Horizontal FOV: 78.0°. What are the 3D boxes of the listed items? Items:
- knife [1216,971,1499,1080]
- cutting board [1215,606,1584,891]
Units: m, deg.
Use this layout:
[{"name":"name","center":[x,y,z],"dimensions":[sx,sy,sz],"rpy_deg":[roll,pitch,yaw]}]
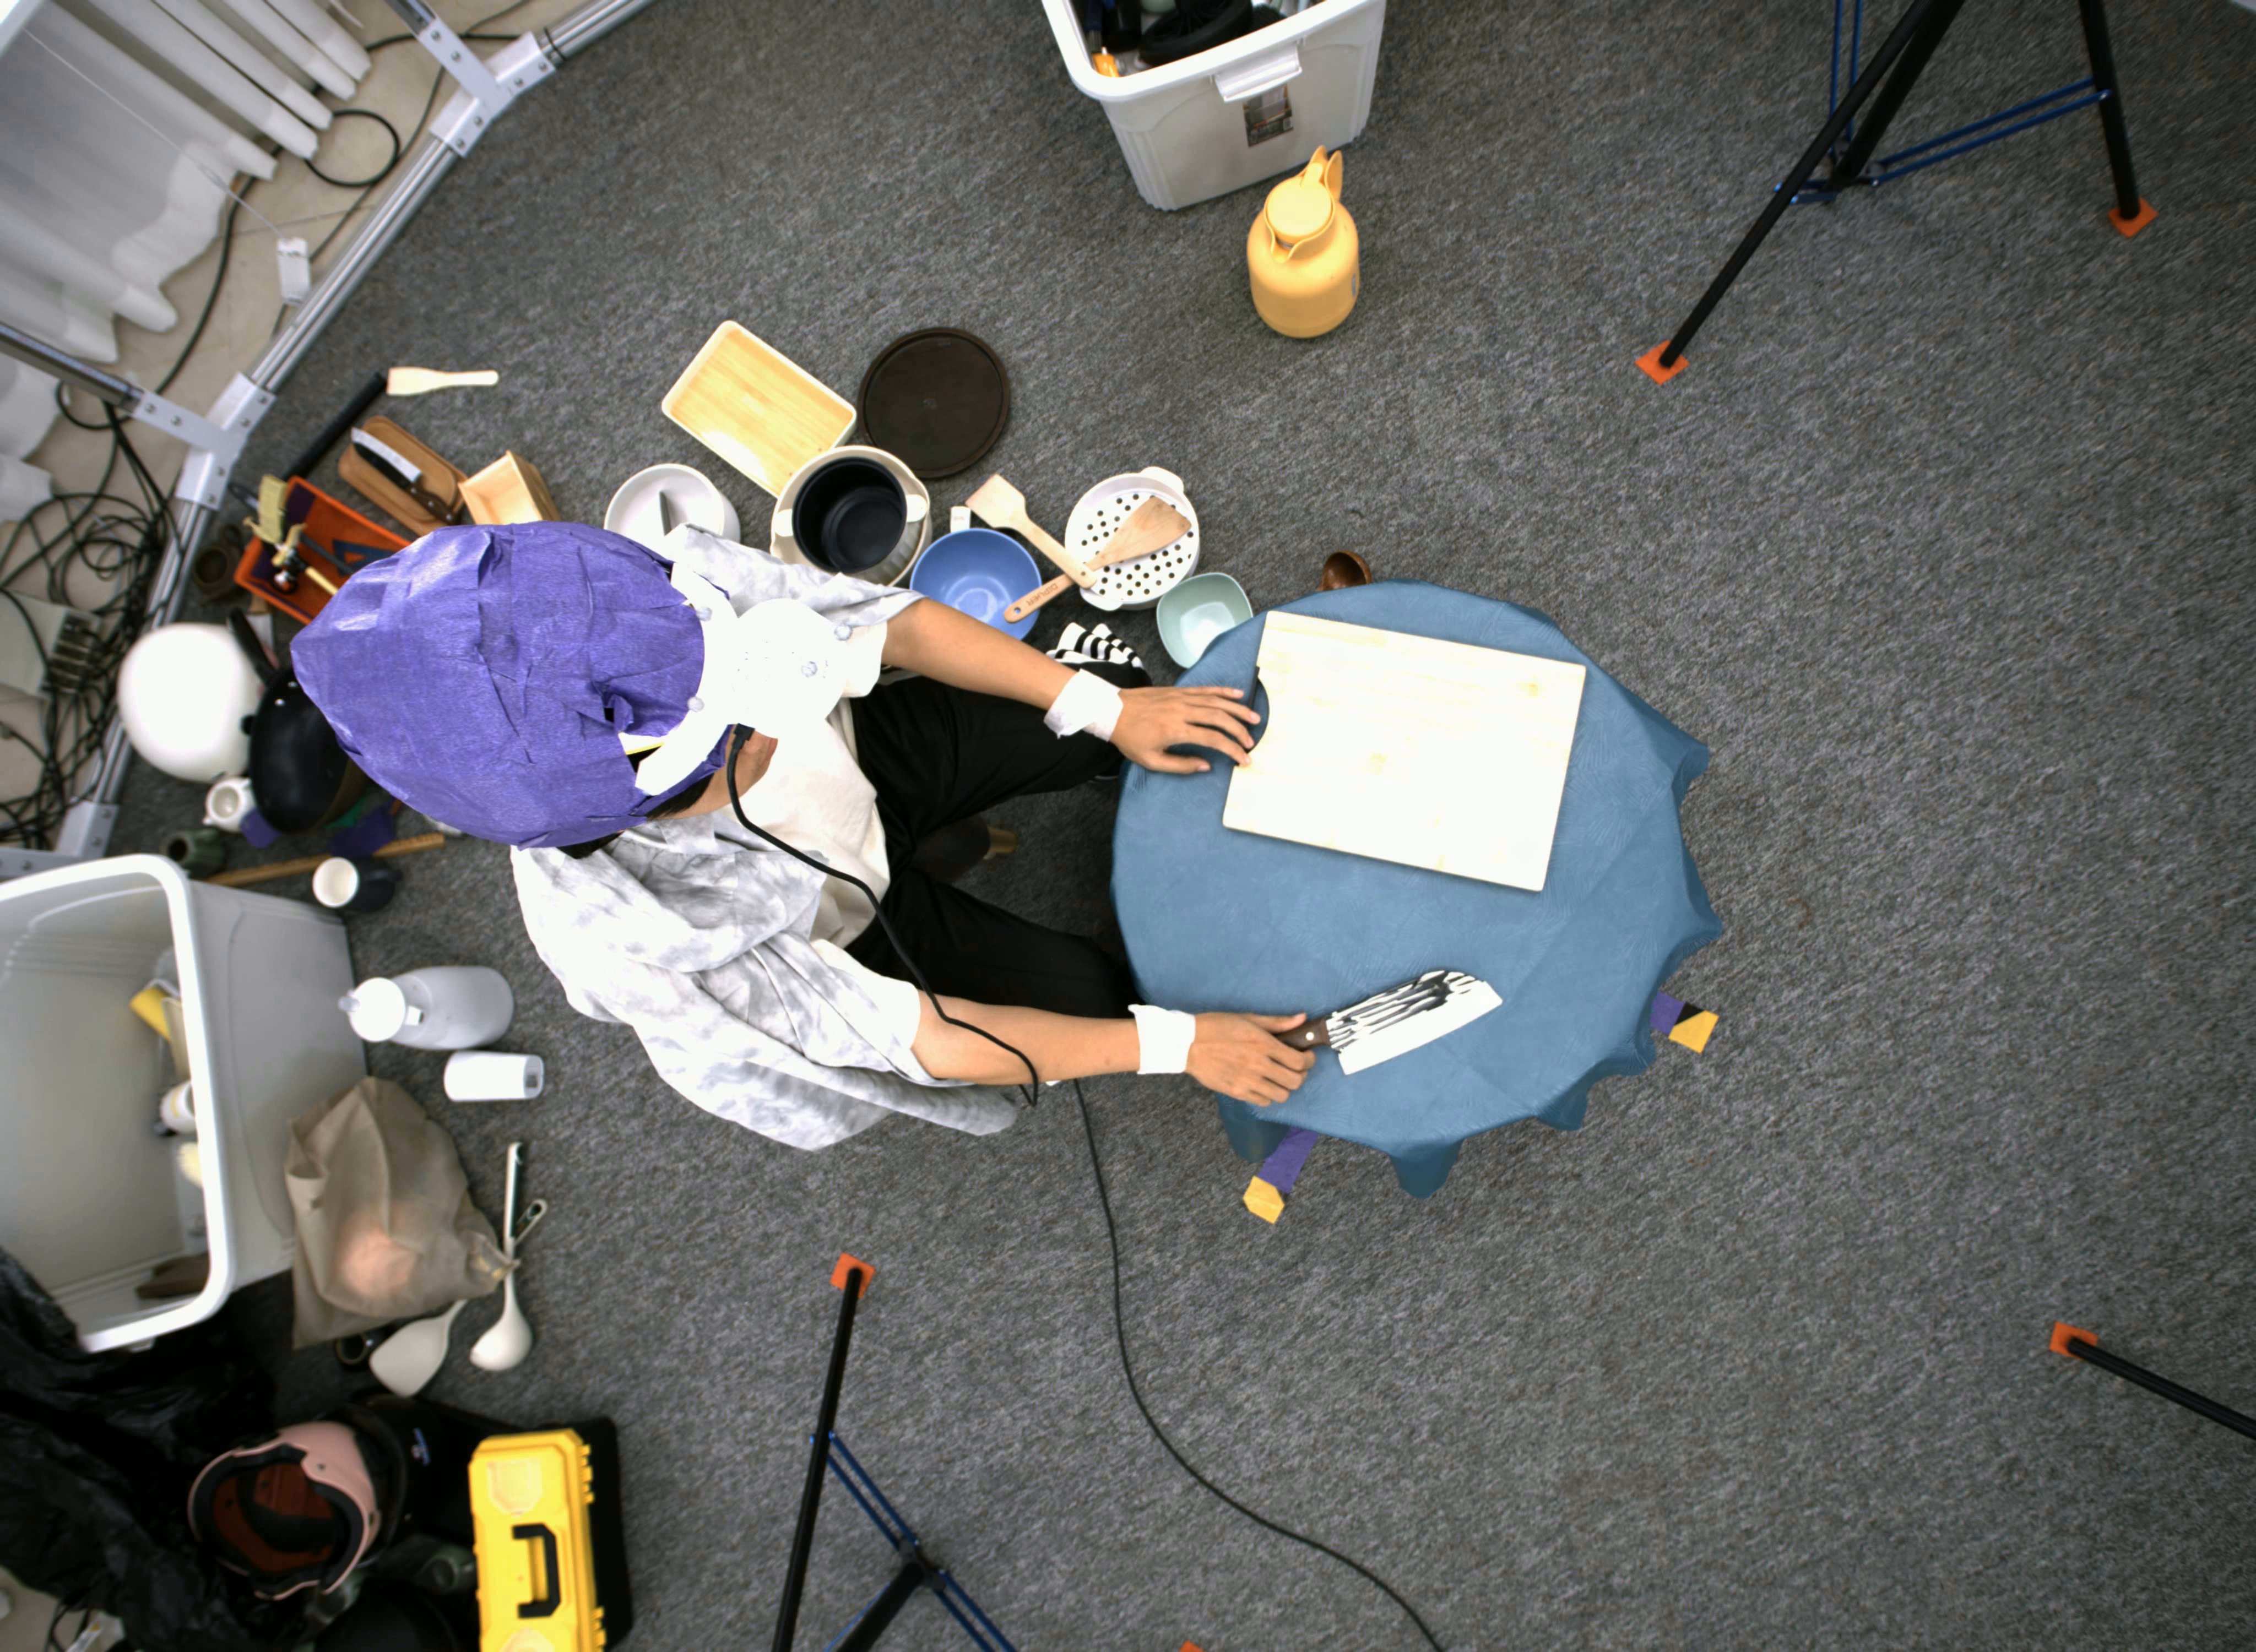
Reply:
[{"name":"knife","center":[0.240,0.217,1.446],"dimensions":[0.301,0.024,0.068],"rpy_deg":[-22,89,6]},{"name":"cutting board","center":[0.284,-0.086,1.456],"dimensions":[0.349,0.023,0.250],"rpy_deg":[11,89,11]}]
